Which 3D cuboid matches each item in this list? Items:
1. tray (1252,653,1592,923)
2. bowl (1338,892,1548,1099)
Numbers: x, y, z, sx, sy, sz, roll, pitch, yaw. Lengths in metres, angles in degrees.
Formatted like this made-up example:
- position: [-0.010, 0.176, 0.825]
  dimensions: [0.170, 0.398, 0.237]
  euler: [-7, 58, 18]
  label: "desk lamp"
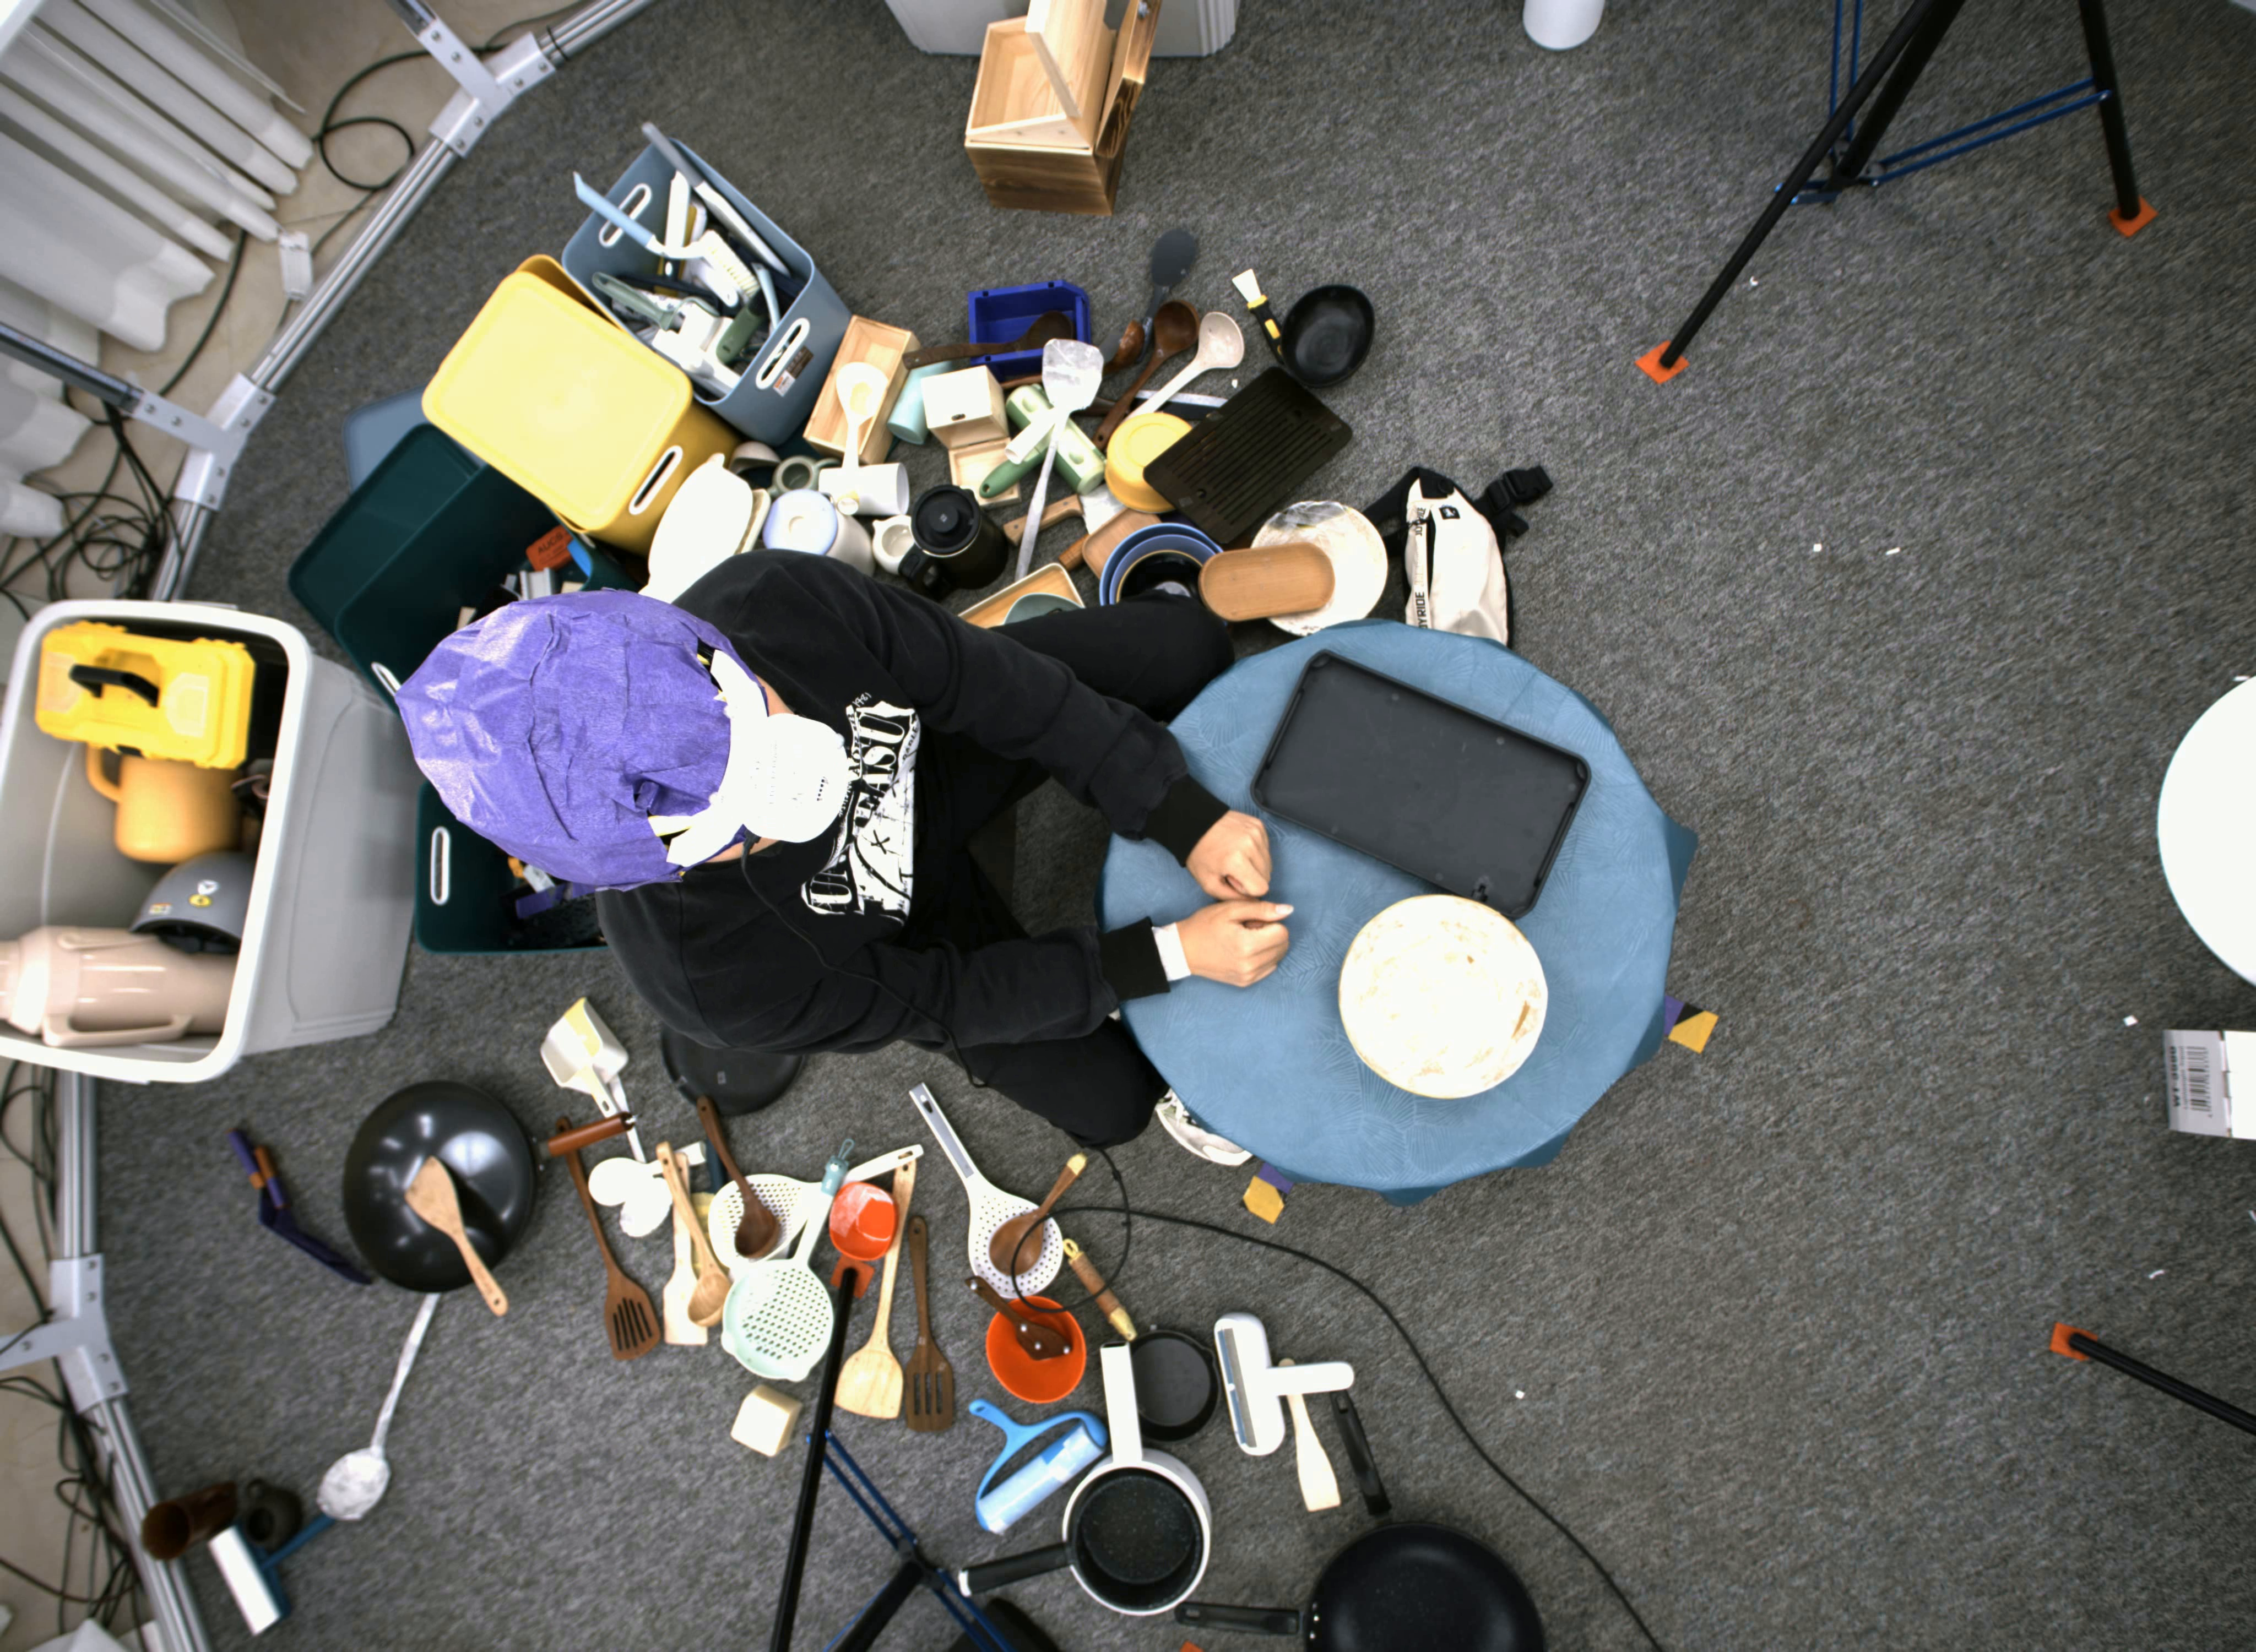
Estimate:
- position: [0.306, -0.042, 1.449]
  dimensions: [0.317, 0.037, 0.184]
  euler: [26, 91, 10]
  label: "tray"
- position: [0.315, 0.168, 1.403]
  dimensions: [0.215, 0.094, 0.214]
  euler: [-1, 87, 10]
  label: "bowl"
